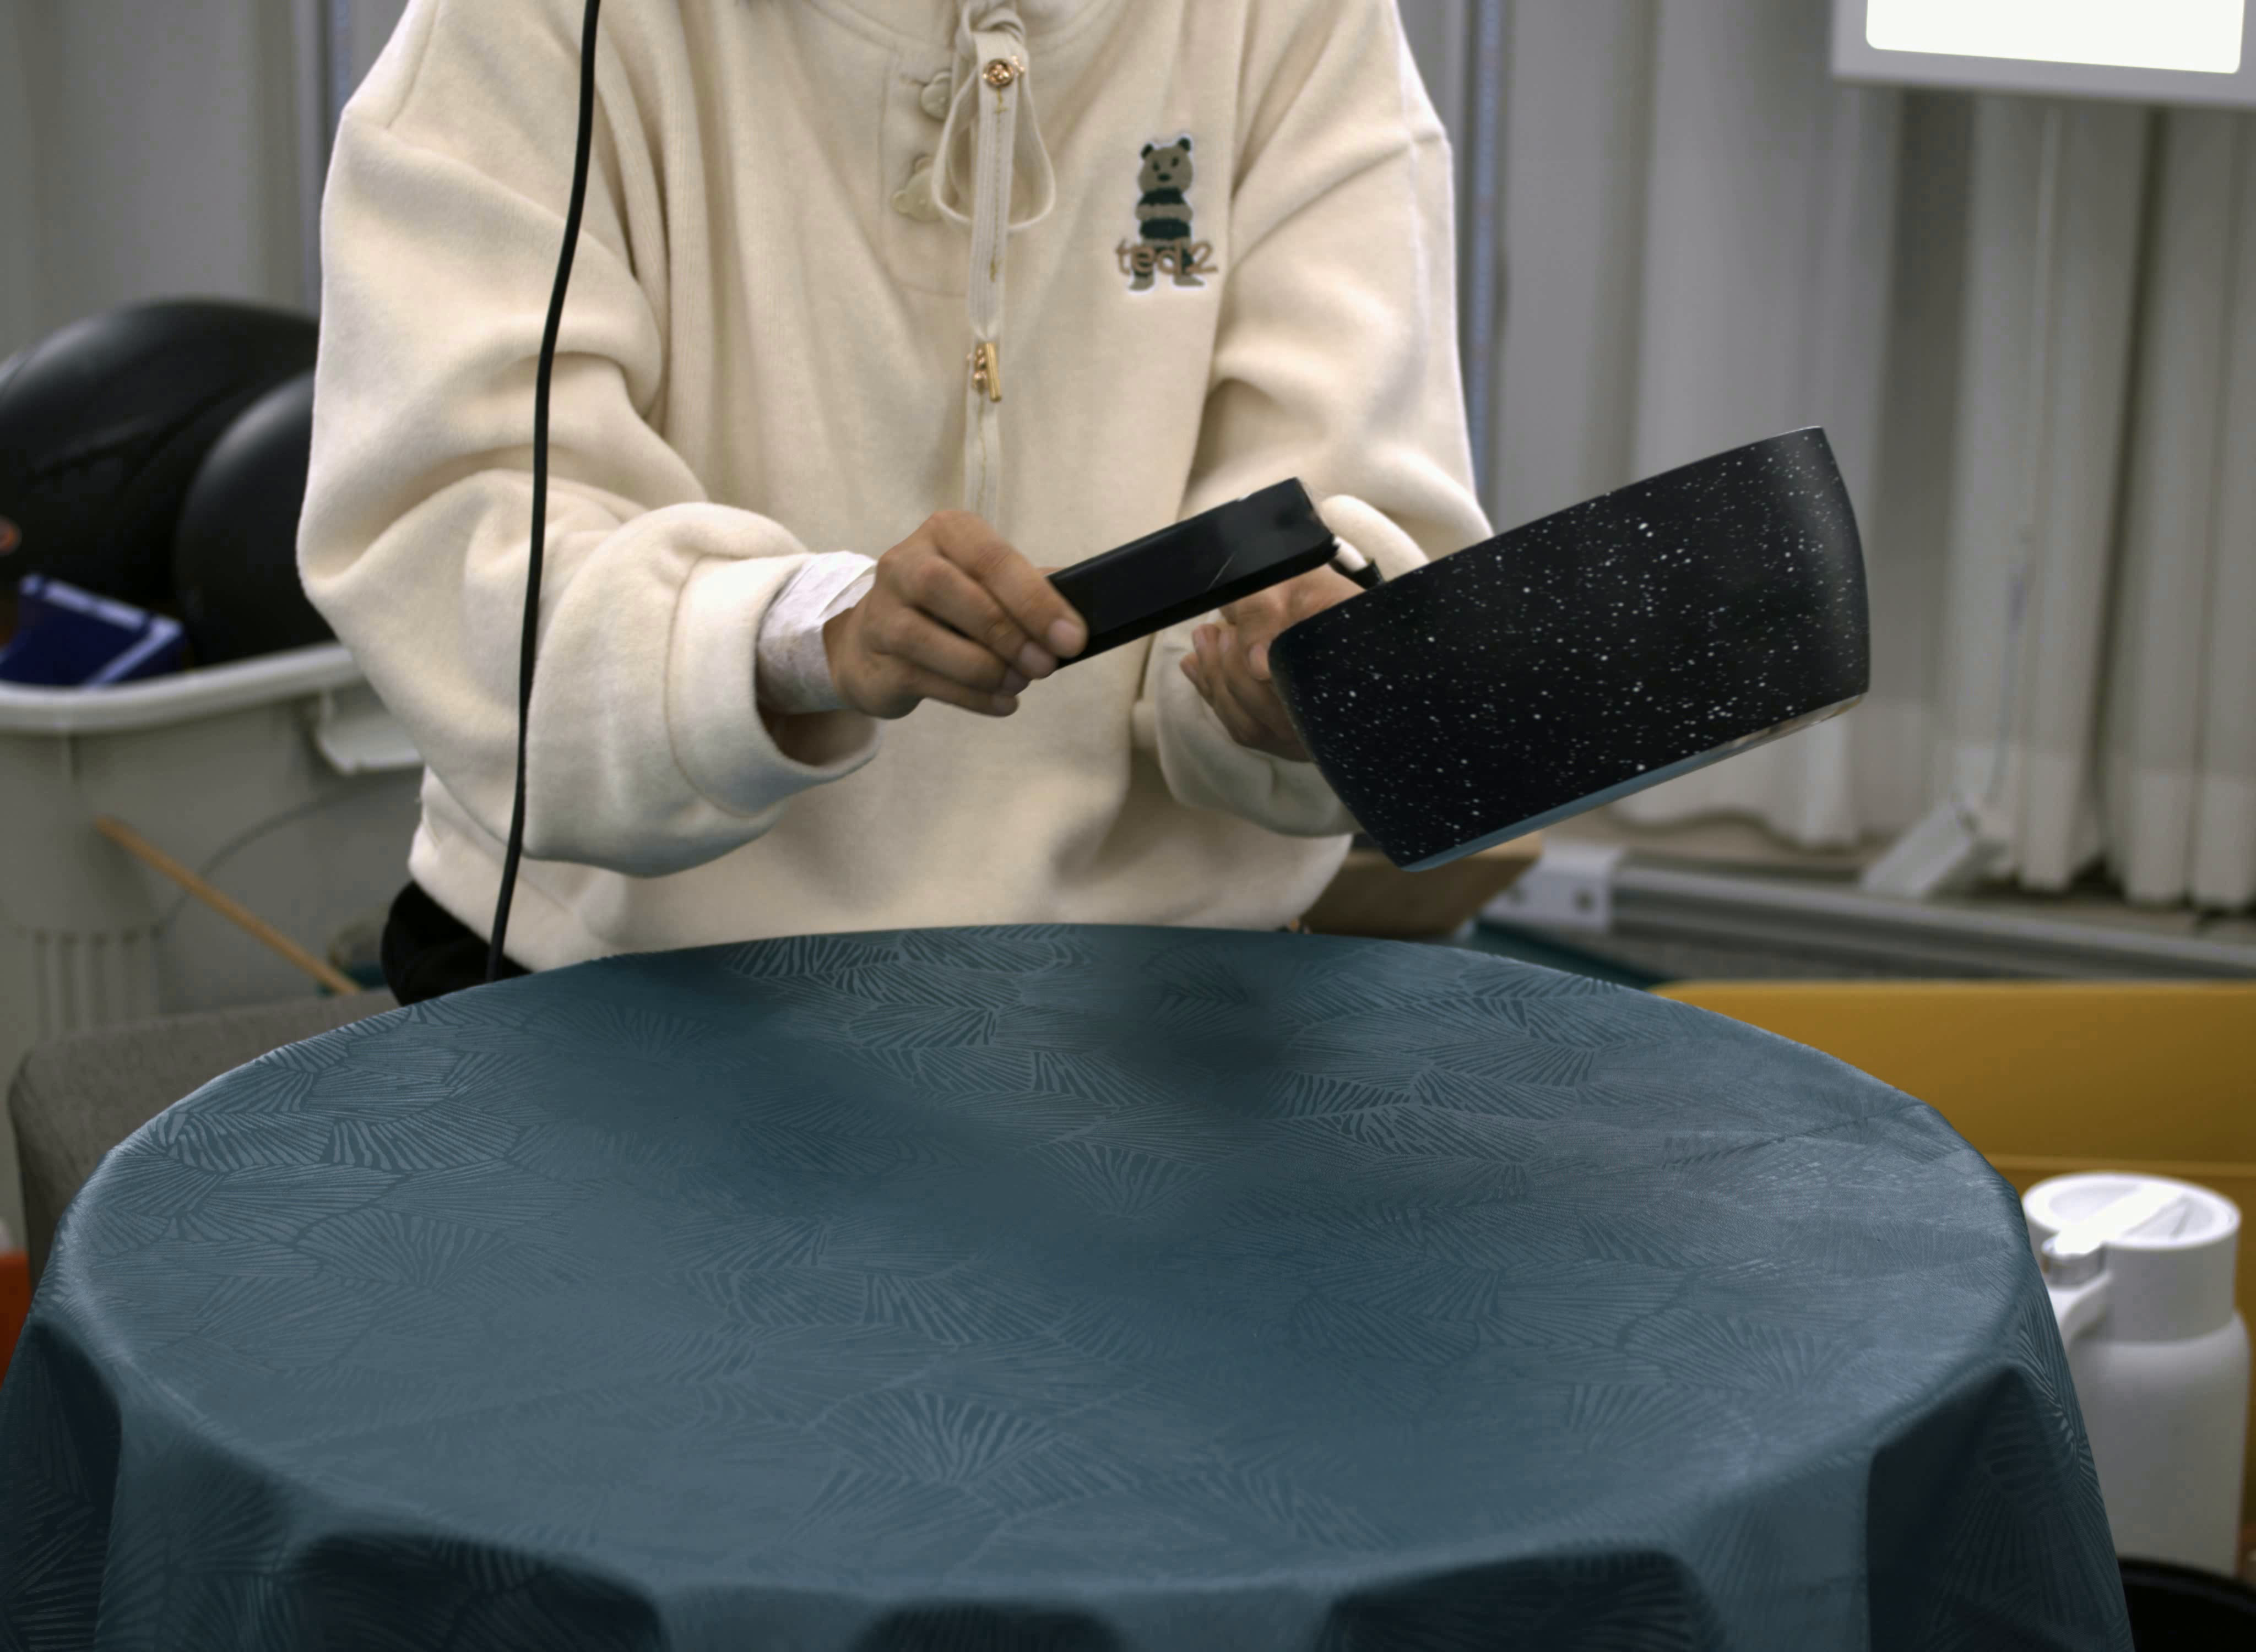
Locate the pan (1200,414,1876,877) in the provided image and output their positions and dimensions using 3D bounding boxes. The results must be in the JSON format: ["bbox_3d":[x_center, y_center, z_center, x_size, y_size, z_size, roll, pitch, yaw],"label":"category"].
[{"bbox_3d":[0.108,-0.047,1.678,0.208,0.108,0.341,-21,-1,-24],"label":"pan"}]

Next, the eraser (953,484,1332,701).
[{"bbox_3d":[0.005,-0.074,1.674,0.124,0.030,0.054,-21,1,43],"label":"eraser"}]
